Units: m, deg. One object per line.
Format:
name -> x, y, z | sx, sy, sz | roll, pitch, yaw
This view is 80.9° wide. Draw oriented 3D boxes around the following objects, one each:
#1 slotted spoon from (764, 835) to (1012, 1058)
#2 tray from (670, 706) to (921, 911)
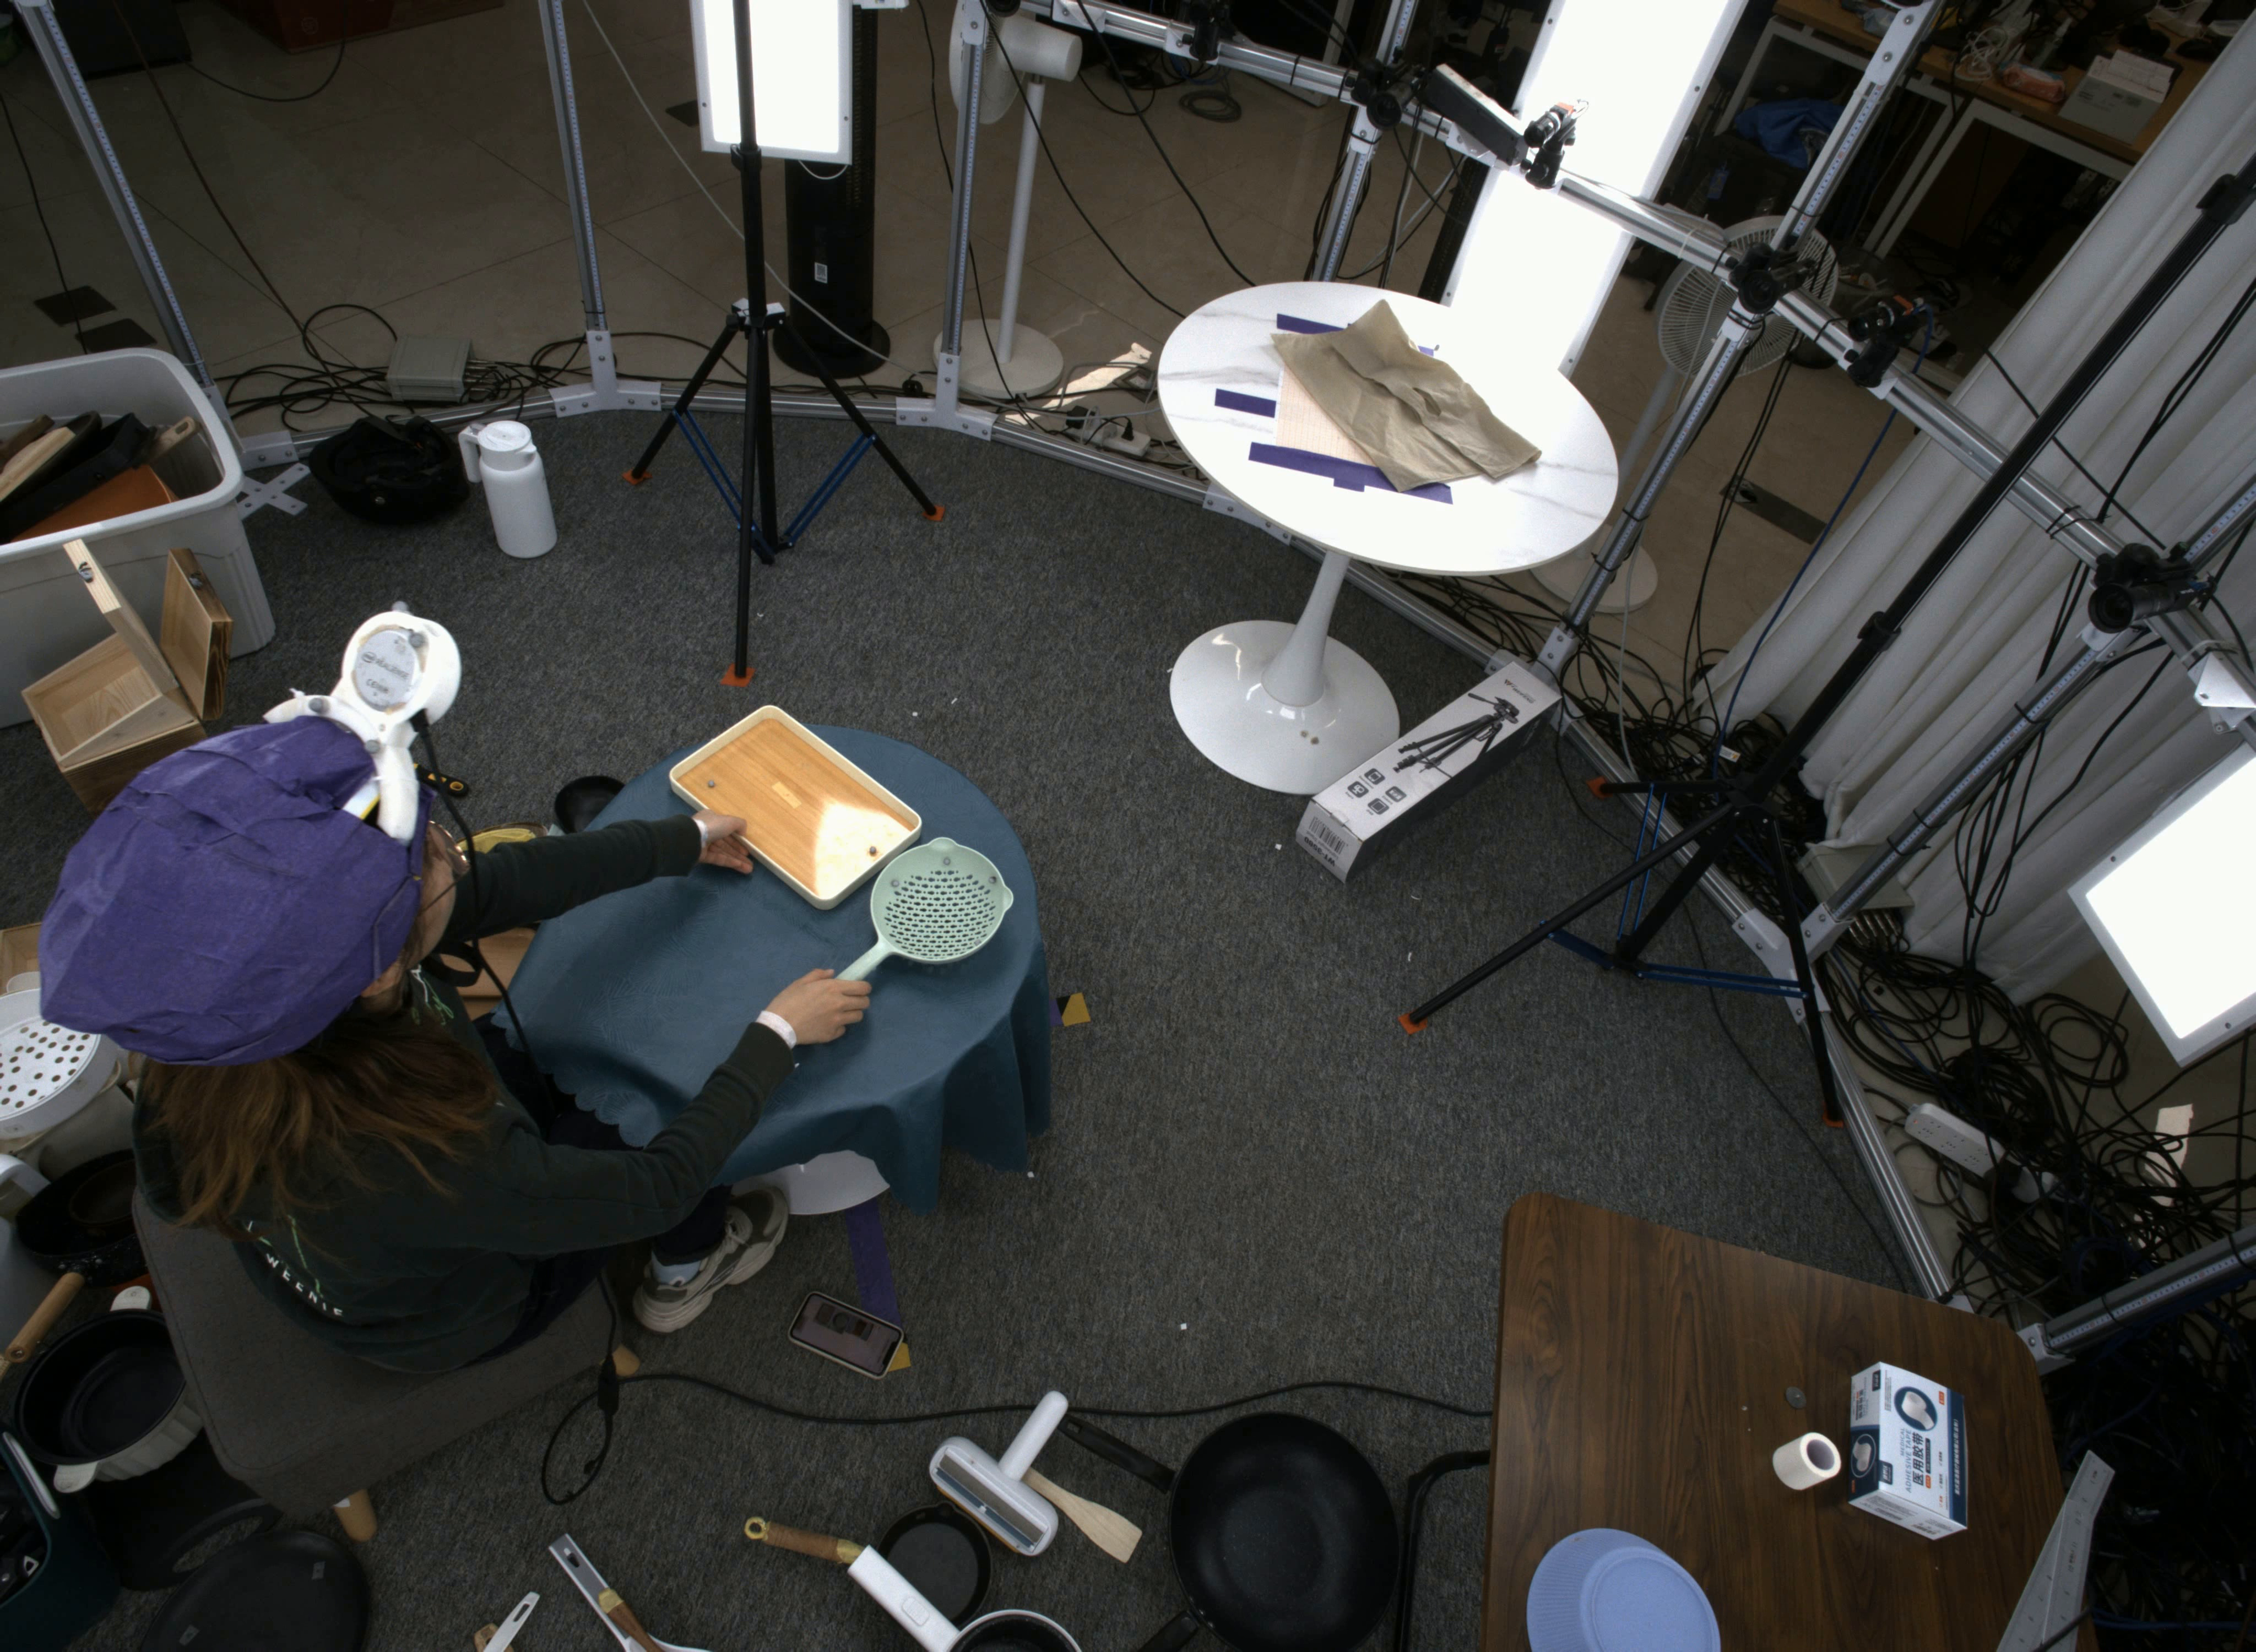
slotted spoon -> -0.305, 0.154, 1.604 | 0.165, 0.077, 0.359 | 39, 54, 19
tray -> -0.444, -0.030, 1.730 | 0.294, 0.028, 0.191 | 36, 54, 14
